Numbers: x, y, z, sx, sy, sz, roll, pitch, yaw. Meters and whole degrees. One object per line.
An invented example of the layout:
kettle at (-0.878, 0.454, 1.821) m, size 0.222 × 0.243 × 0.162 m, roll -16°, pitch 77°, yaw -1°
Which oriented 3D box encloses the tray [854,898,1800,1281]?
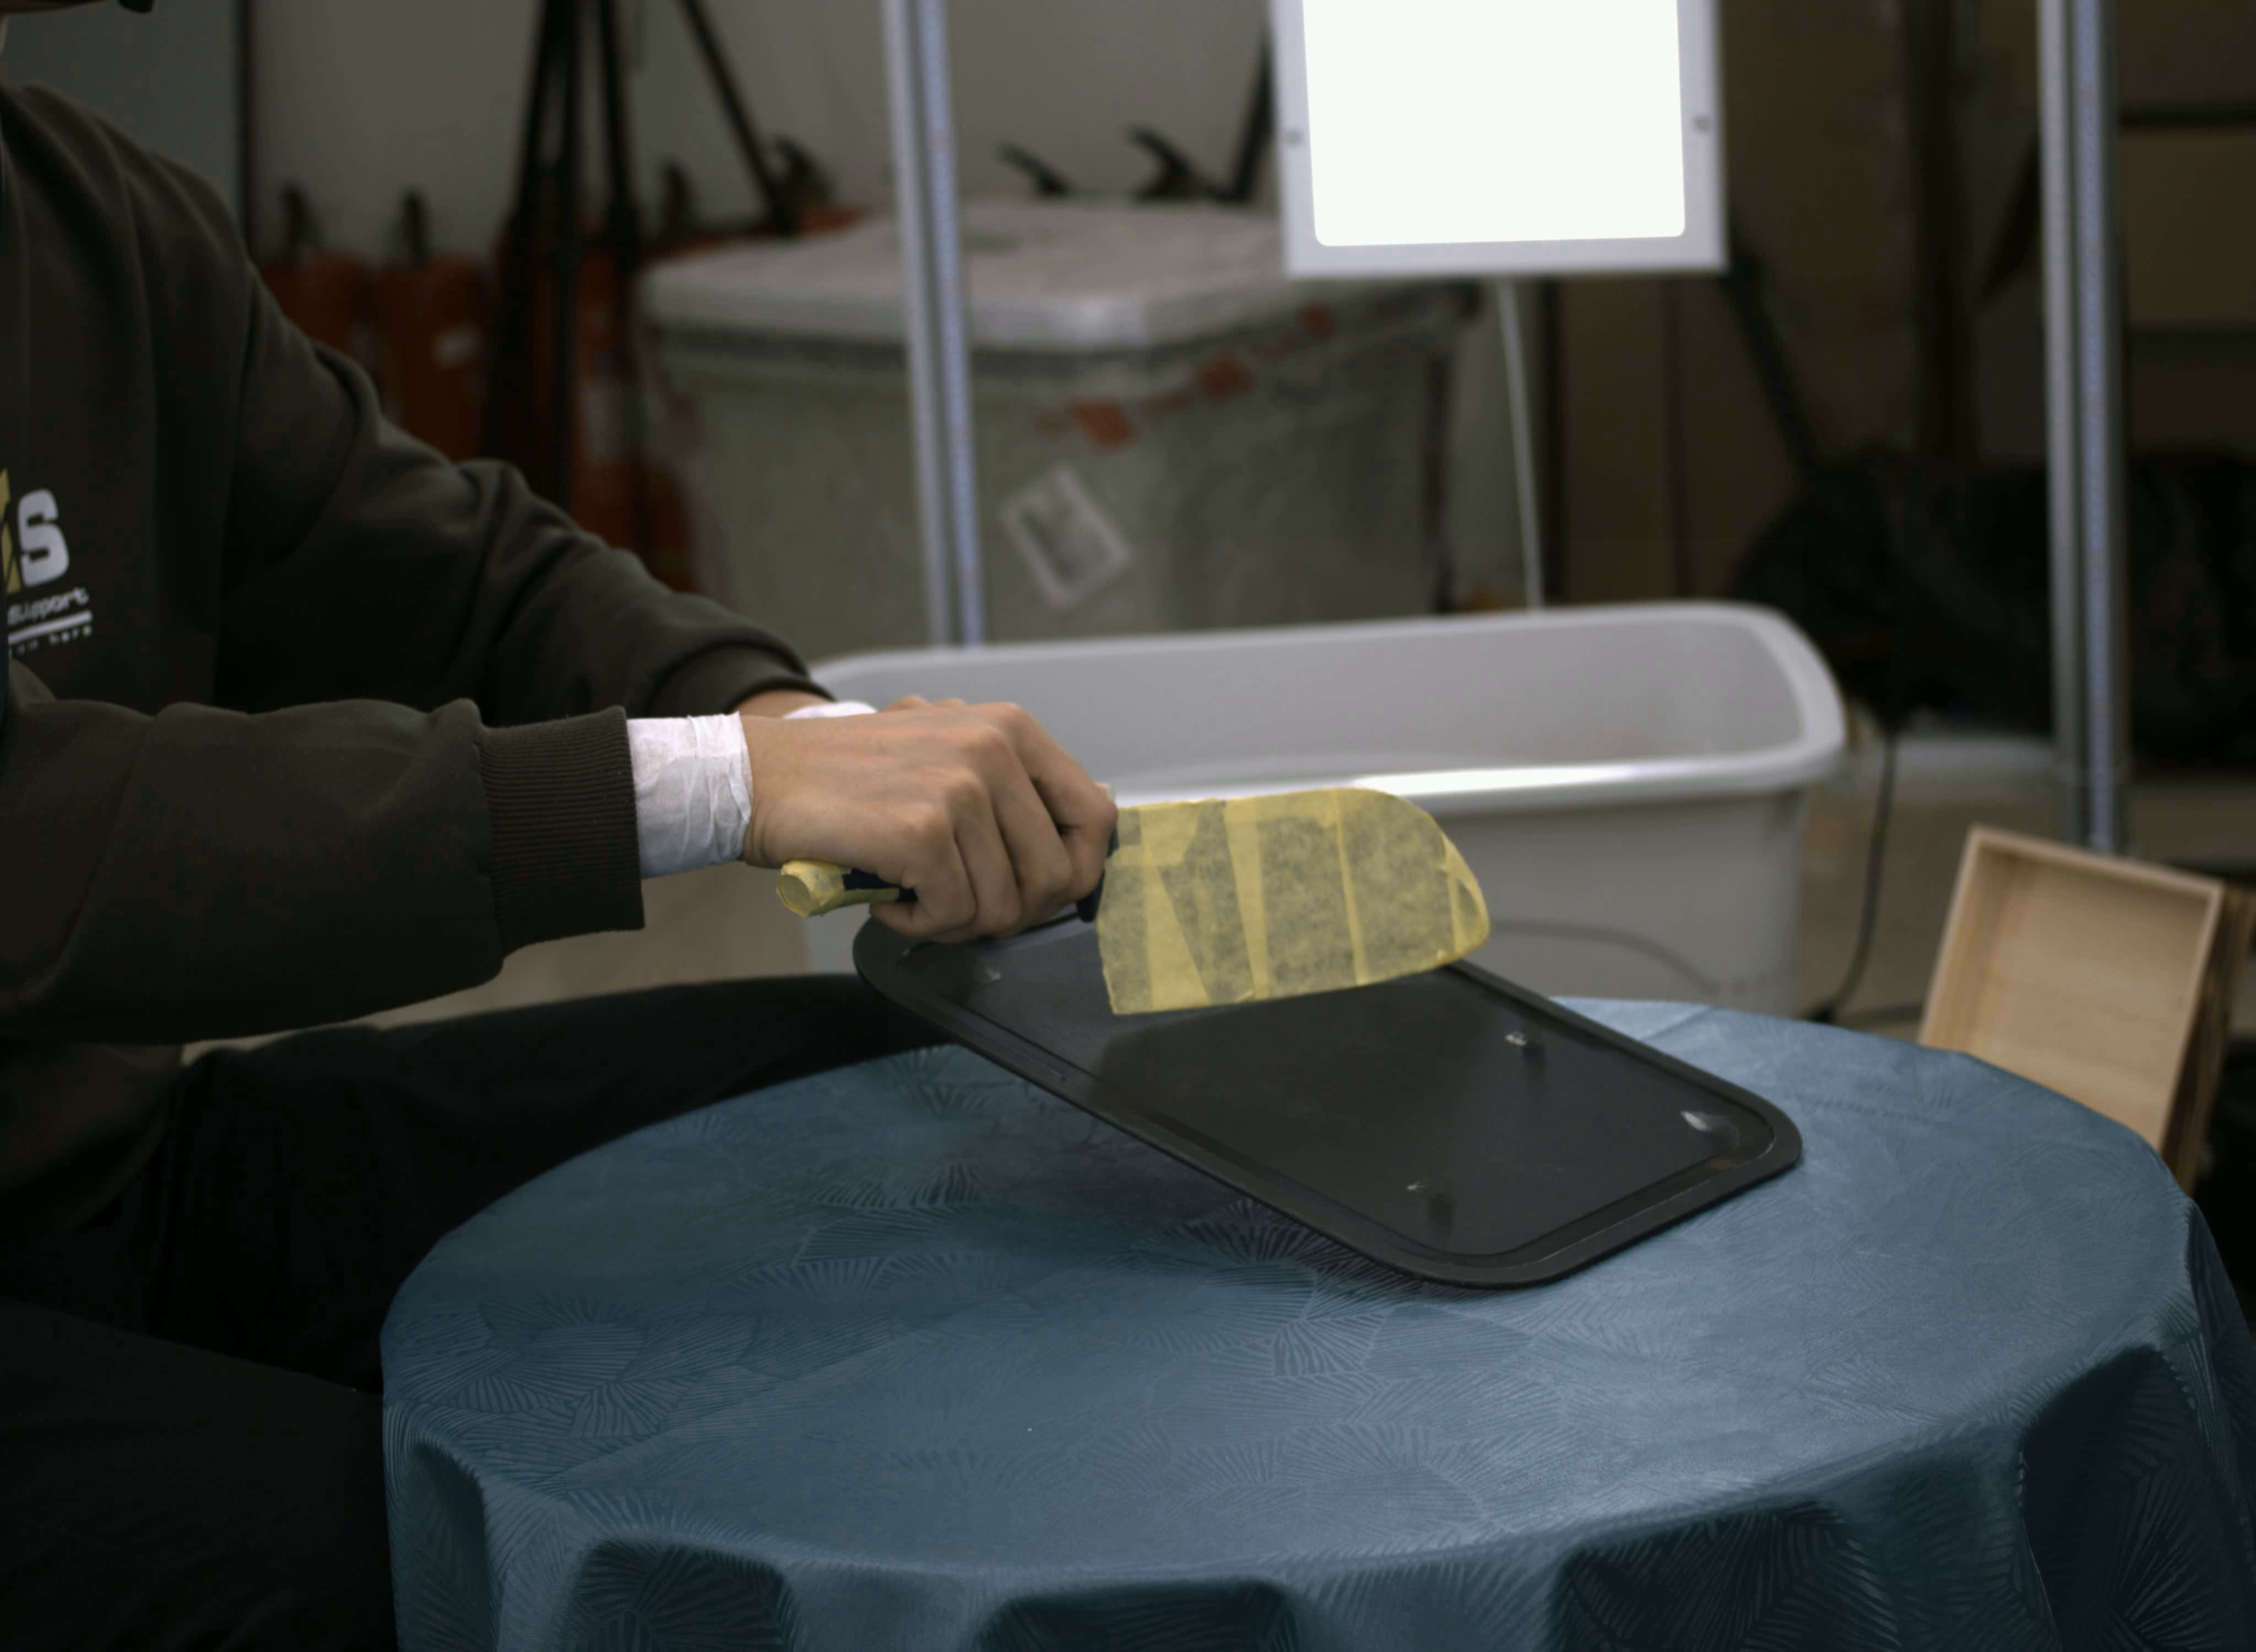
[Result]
tray at (0.061, 0.072, 1.909) m, size 0.331 × 0.010 × 0.206 m, roll 26°, pitch 30°, yaw 36°

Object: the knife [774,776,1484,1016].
knife at (0.007, 0.025, 1.920) m, size 0.283 × 0.081 × 0.028 m, roll -3°, pitch -9°, yaw -29°
